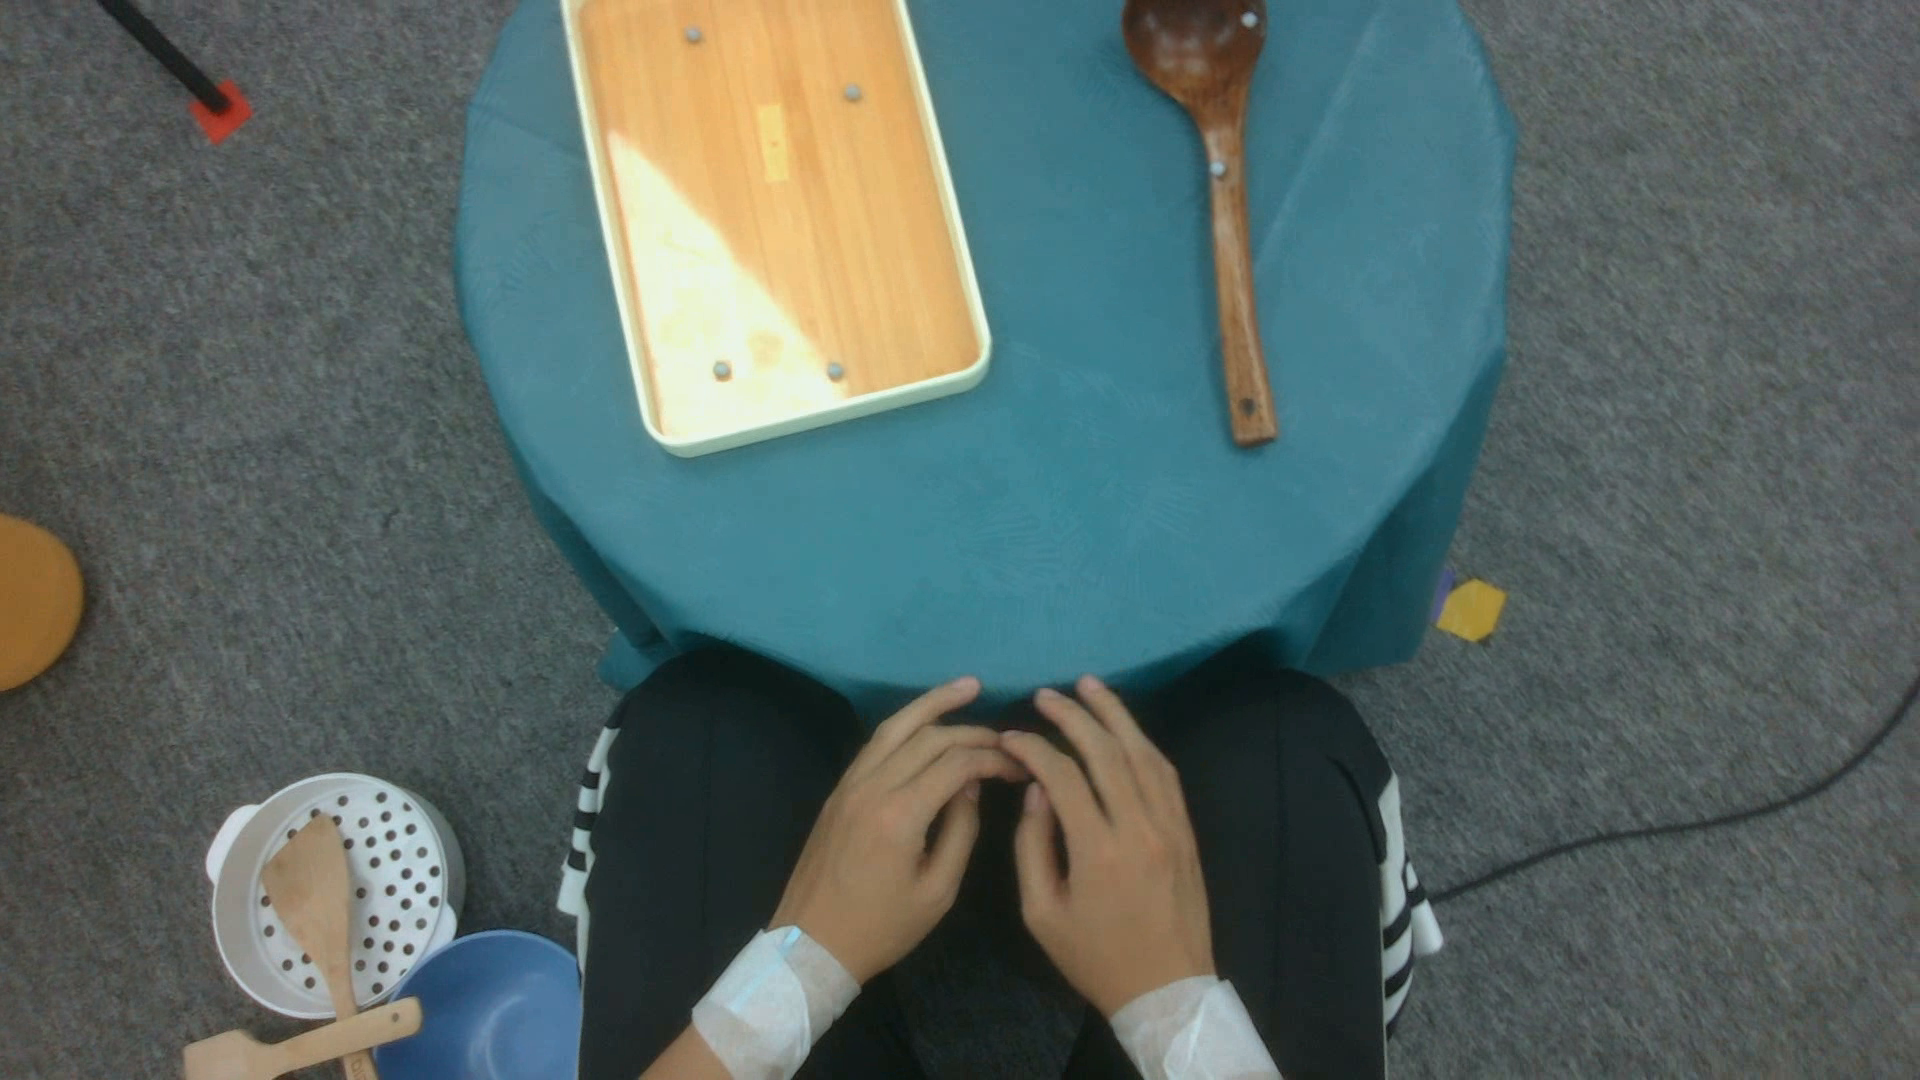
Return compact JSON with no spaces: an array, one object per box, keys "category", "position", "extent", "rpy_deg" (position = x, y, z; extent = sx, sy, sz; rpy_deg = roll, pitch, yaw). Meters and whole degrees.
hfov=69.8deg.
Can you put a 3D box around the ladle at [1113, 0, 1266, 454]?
[{"category":"ladle","position":[0.133,-0.186,0.757],"extent":[0.081,0.077,0.274],"rpy_deg":[-13,73,41]}]

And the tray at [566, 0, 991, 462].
[{"category":"tray","position":[-0.107,-0.205,0.789],"extent":[0.191,0.027,0.301],"rpy_deg":[-14,76,-2]}]
